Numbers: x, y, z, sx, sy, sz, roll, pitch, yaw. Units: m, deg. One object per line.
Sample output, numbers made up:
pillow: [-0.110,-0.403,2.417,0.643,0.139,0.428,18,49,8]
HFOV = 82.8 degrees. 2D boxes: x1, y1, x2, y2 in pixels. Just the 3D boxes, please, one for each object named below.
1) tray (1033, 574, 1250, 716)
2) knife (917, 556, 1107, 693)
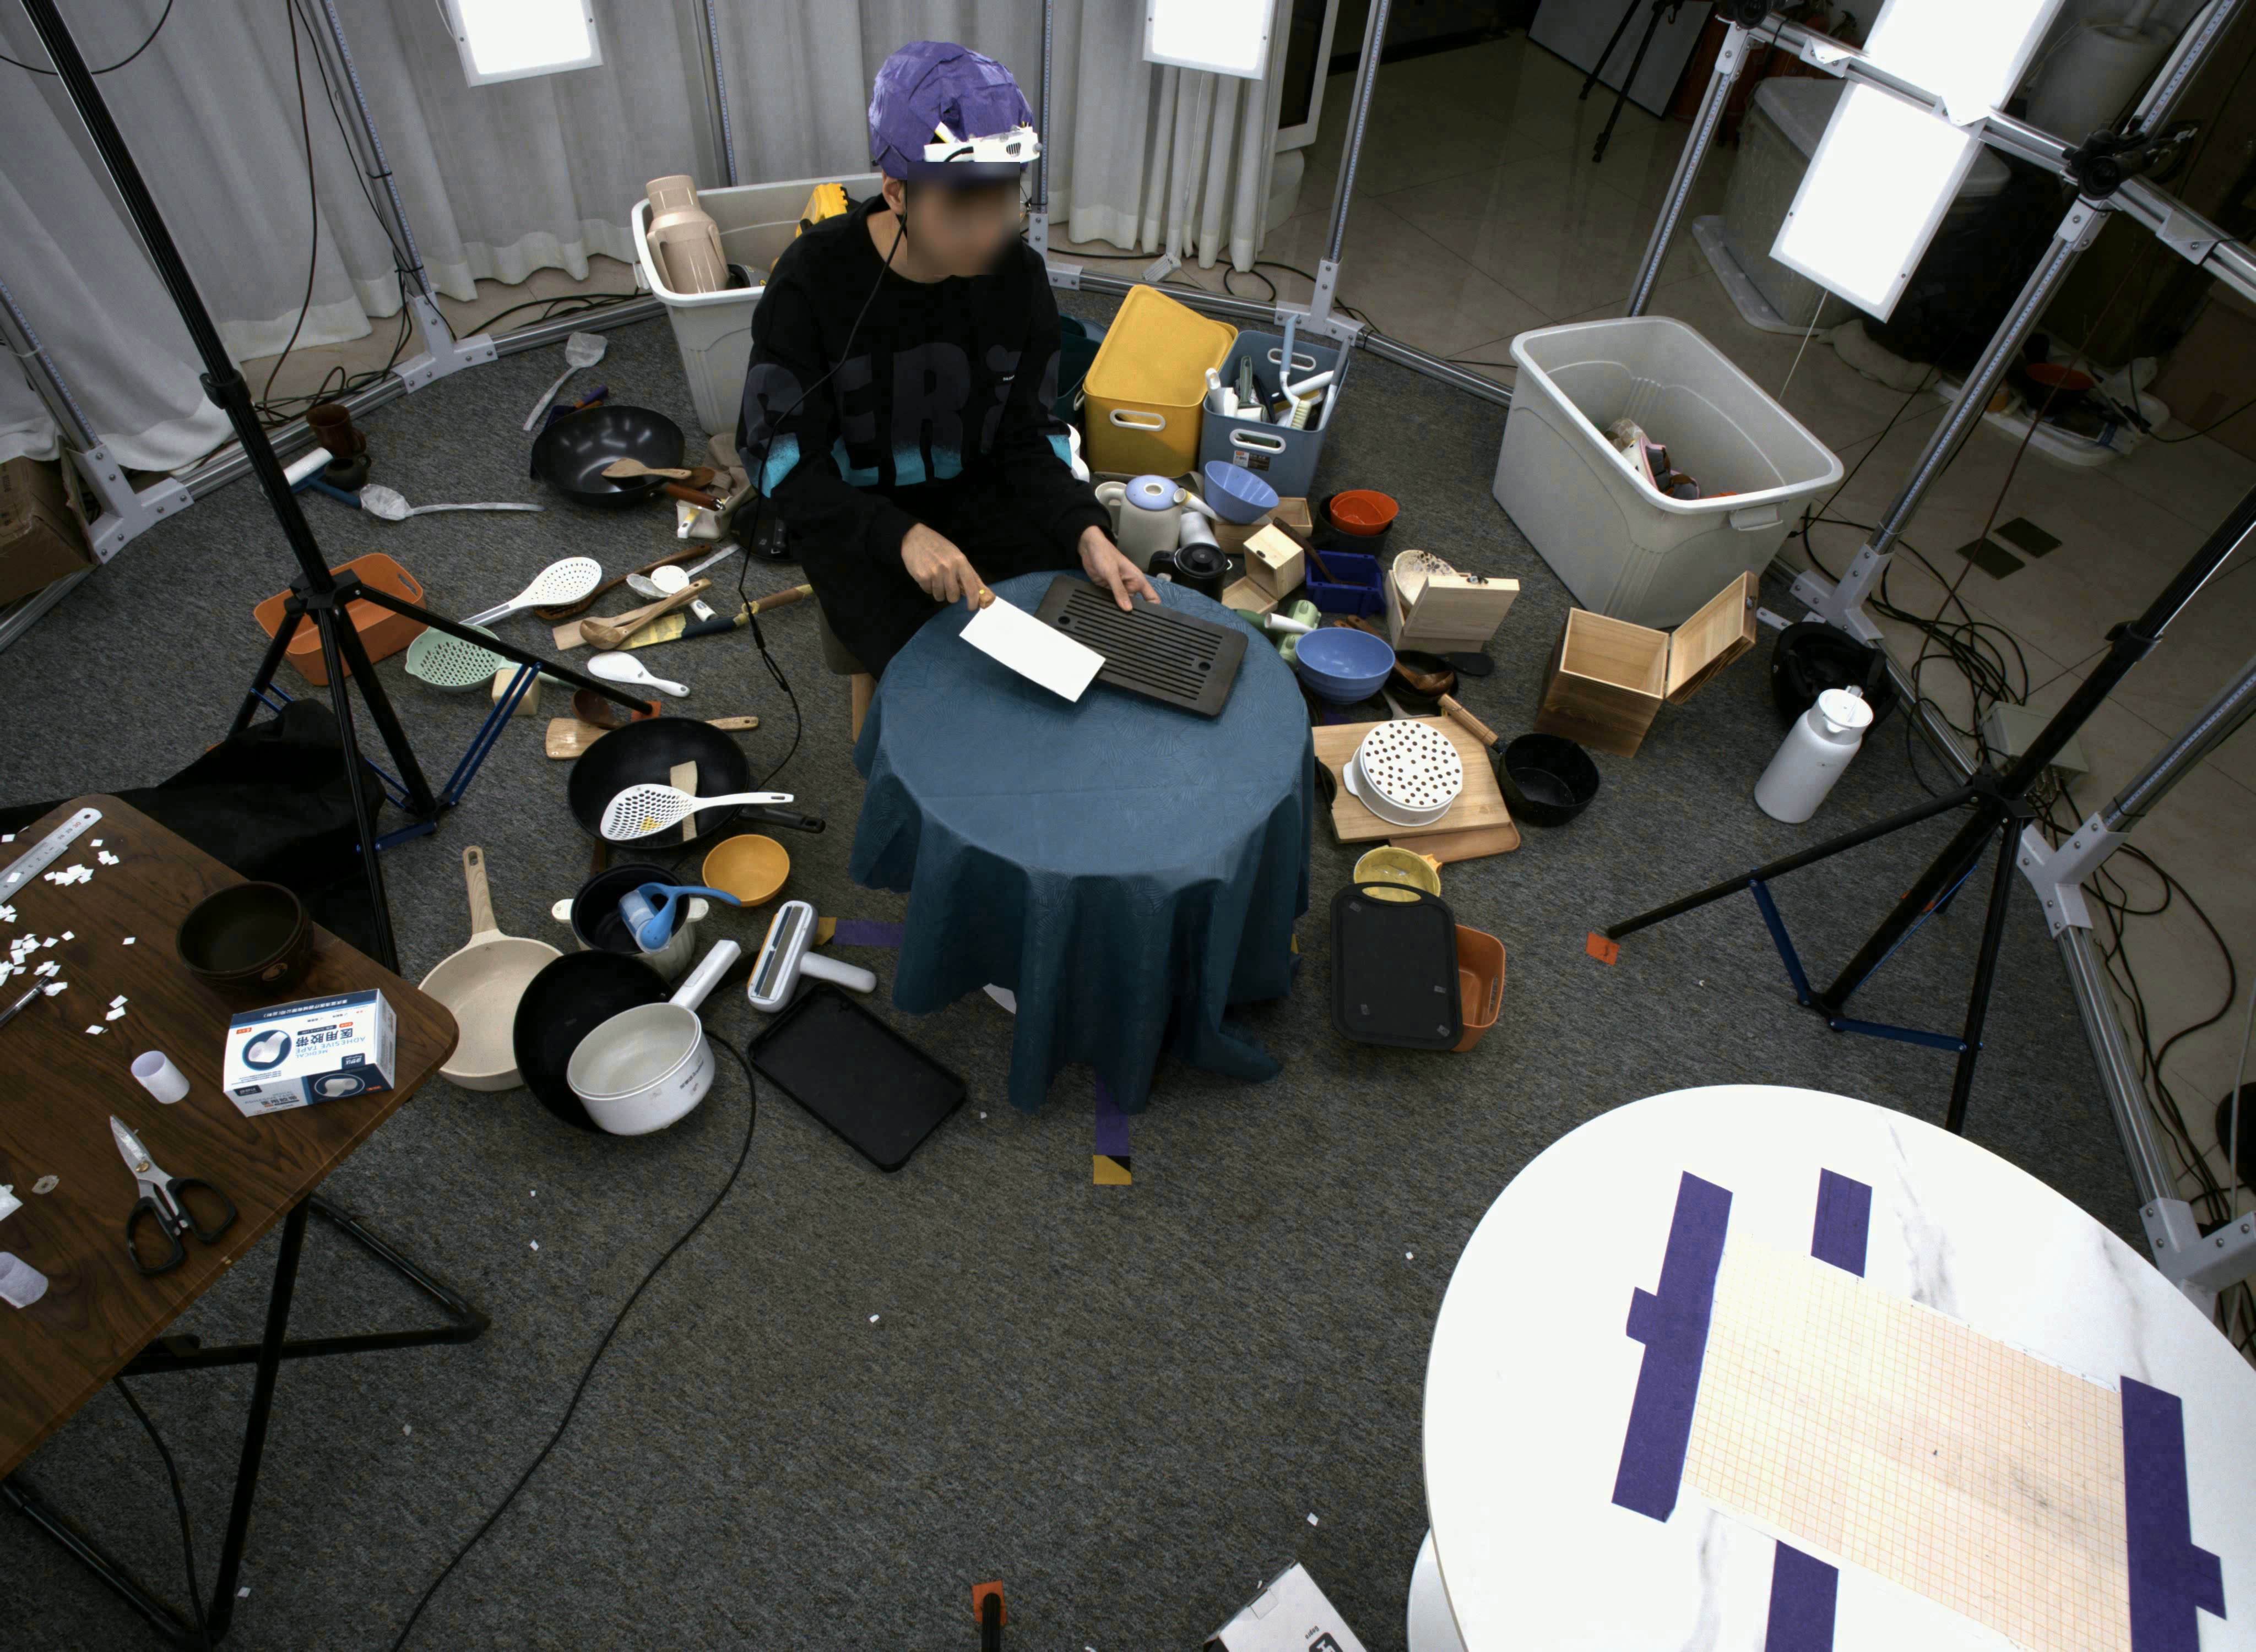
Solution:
tray: [0.012,-0.263,1.868,0.307,0.018,0.173,19,55,8]
knife: [-0.177,-0.281,1.820,0.307,0.020,0.094,31,60,6]
